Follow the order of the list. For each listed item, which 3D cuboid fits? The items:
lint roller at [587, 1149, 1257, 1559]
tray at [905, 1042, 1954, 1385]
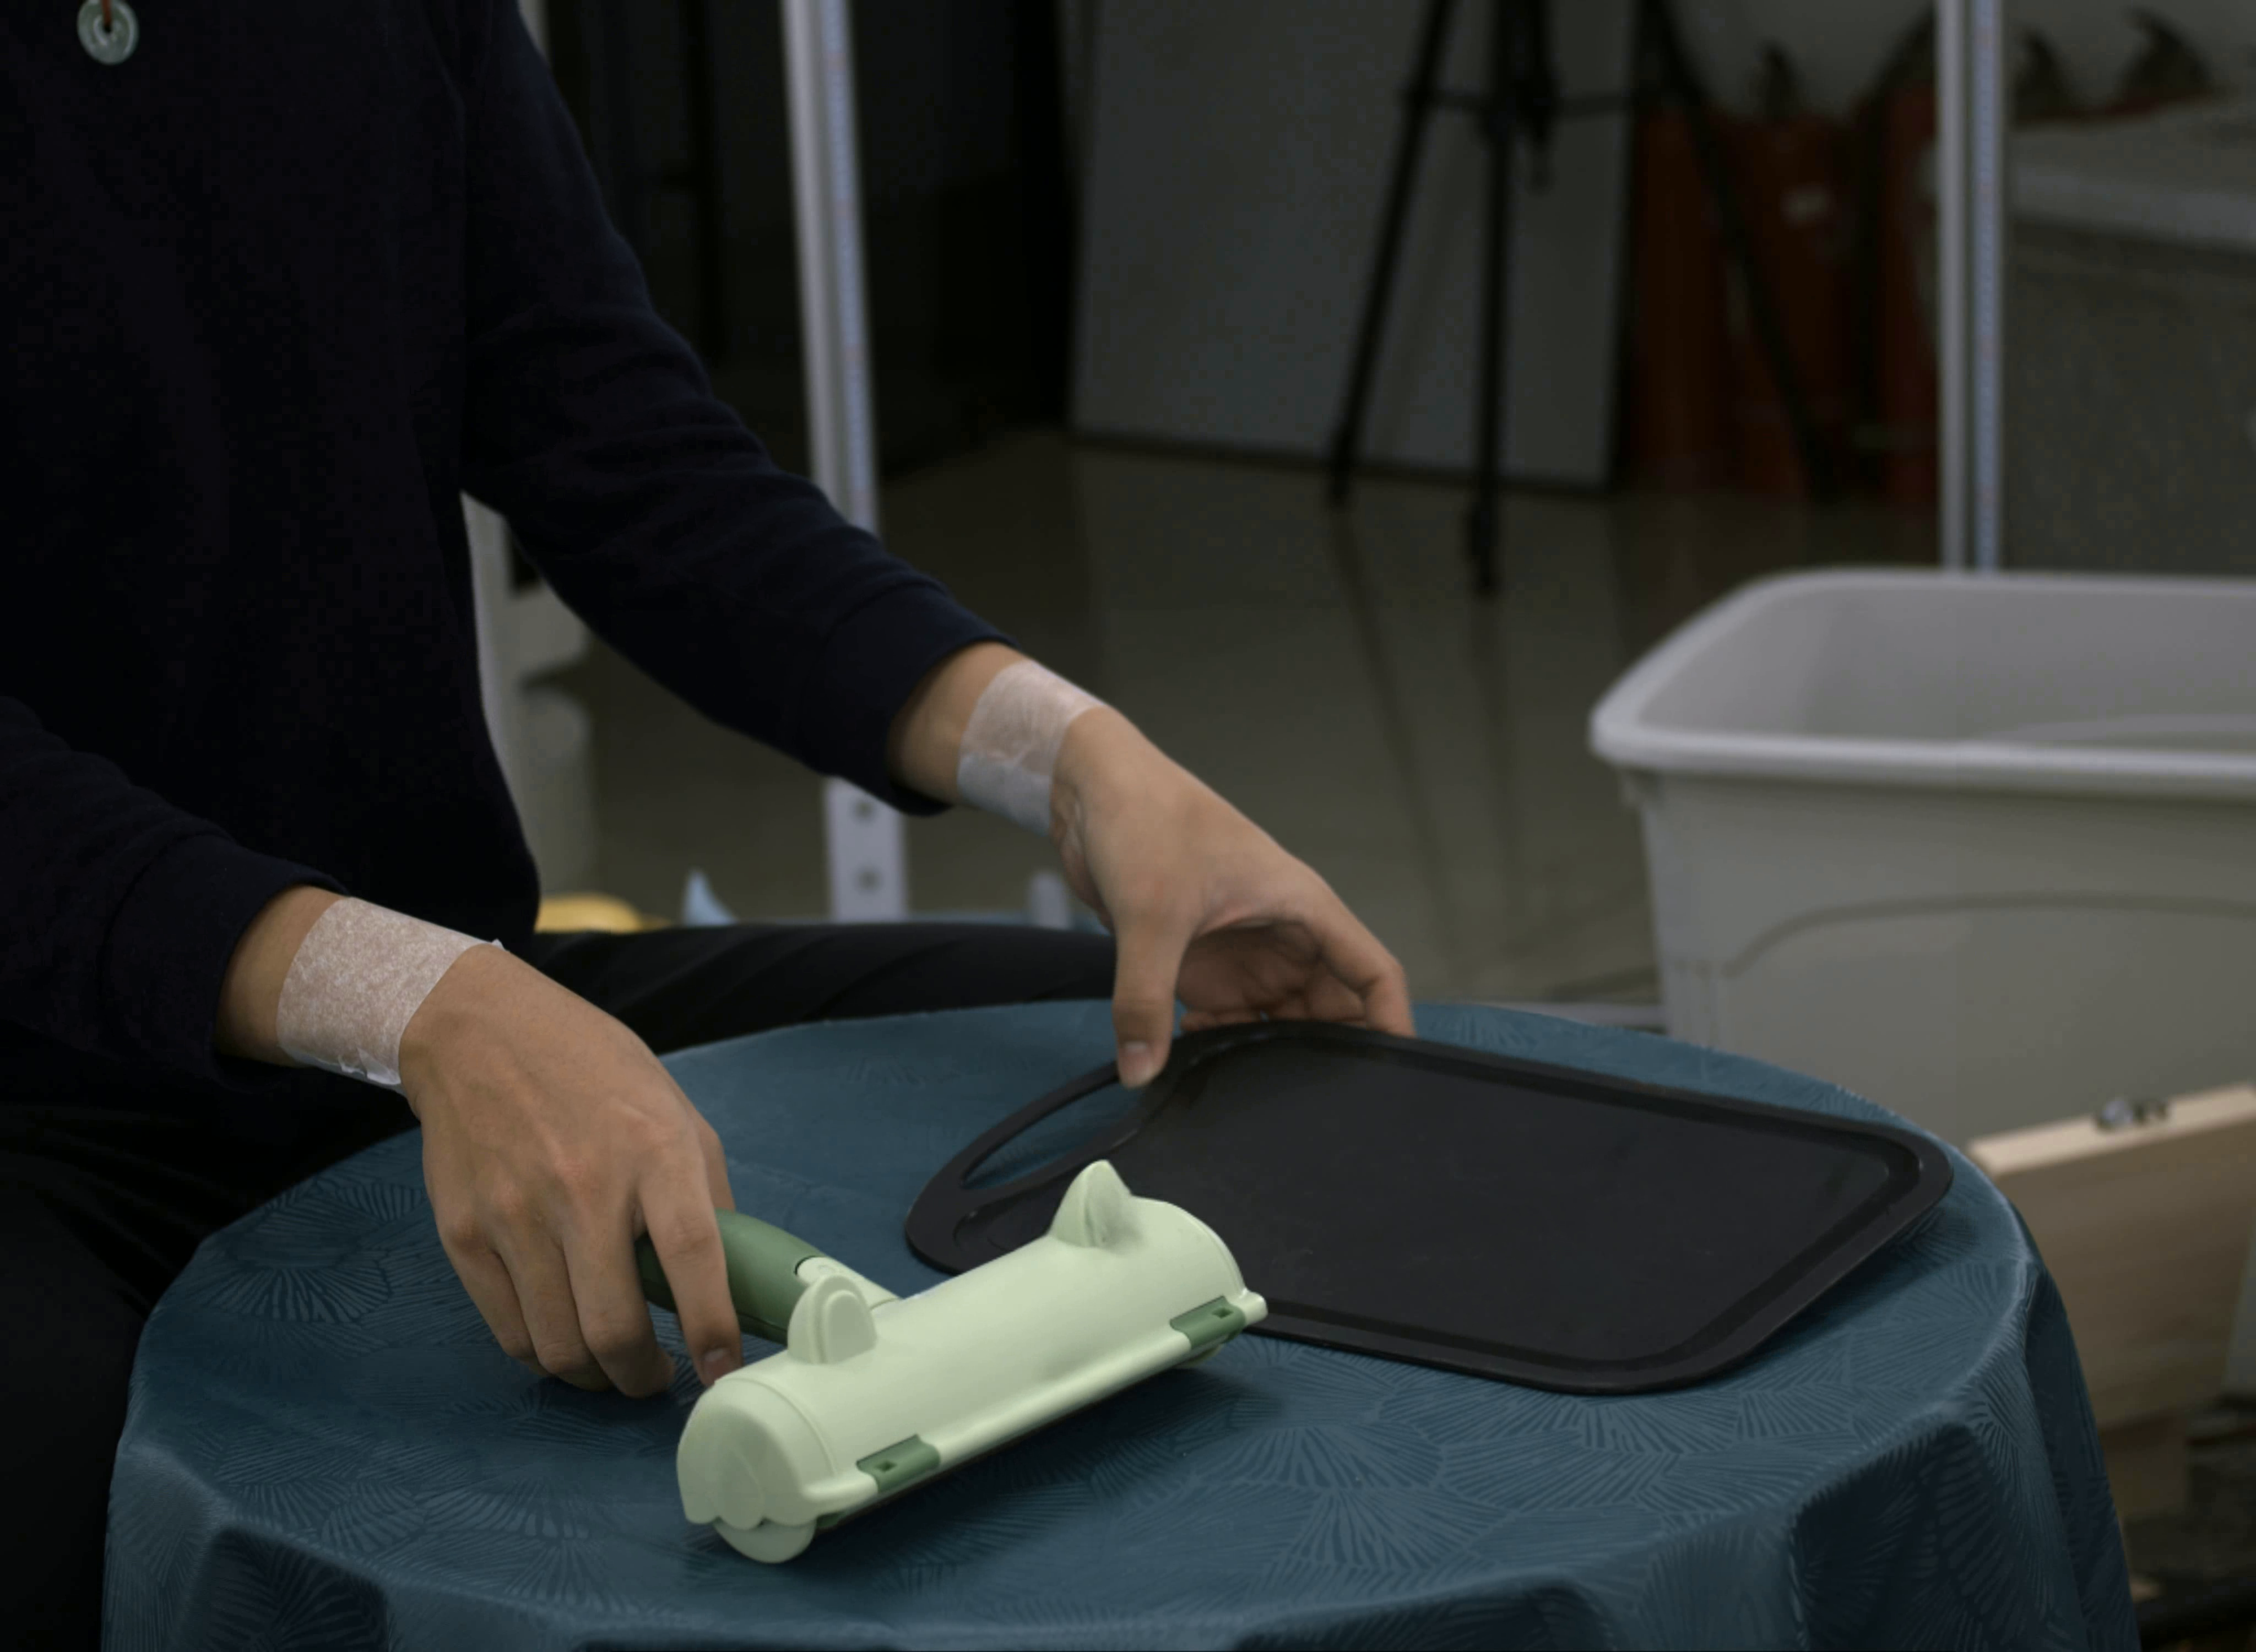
[{"bbox_3d":[-0.086,0.124,1.562,0.185,0.083,0.195,30,31,31],"label":"lint roller"},{"bbox_3d":[0.086,0.117,1.711,0.328,0.010,0.207,7,23,37],"label":"tray"}]
